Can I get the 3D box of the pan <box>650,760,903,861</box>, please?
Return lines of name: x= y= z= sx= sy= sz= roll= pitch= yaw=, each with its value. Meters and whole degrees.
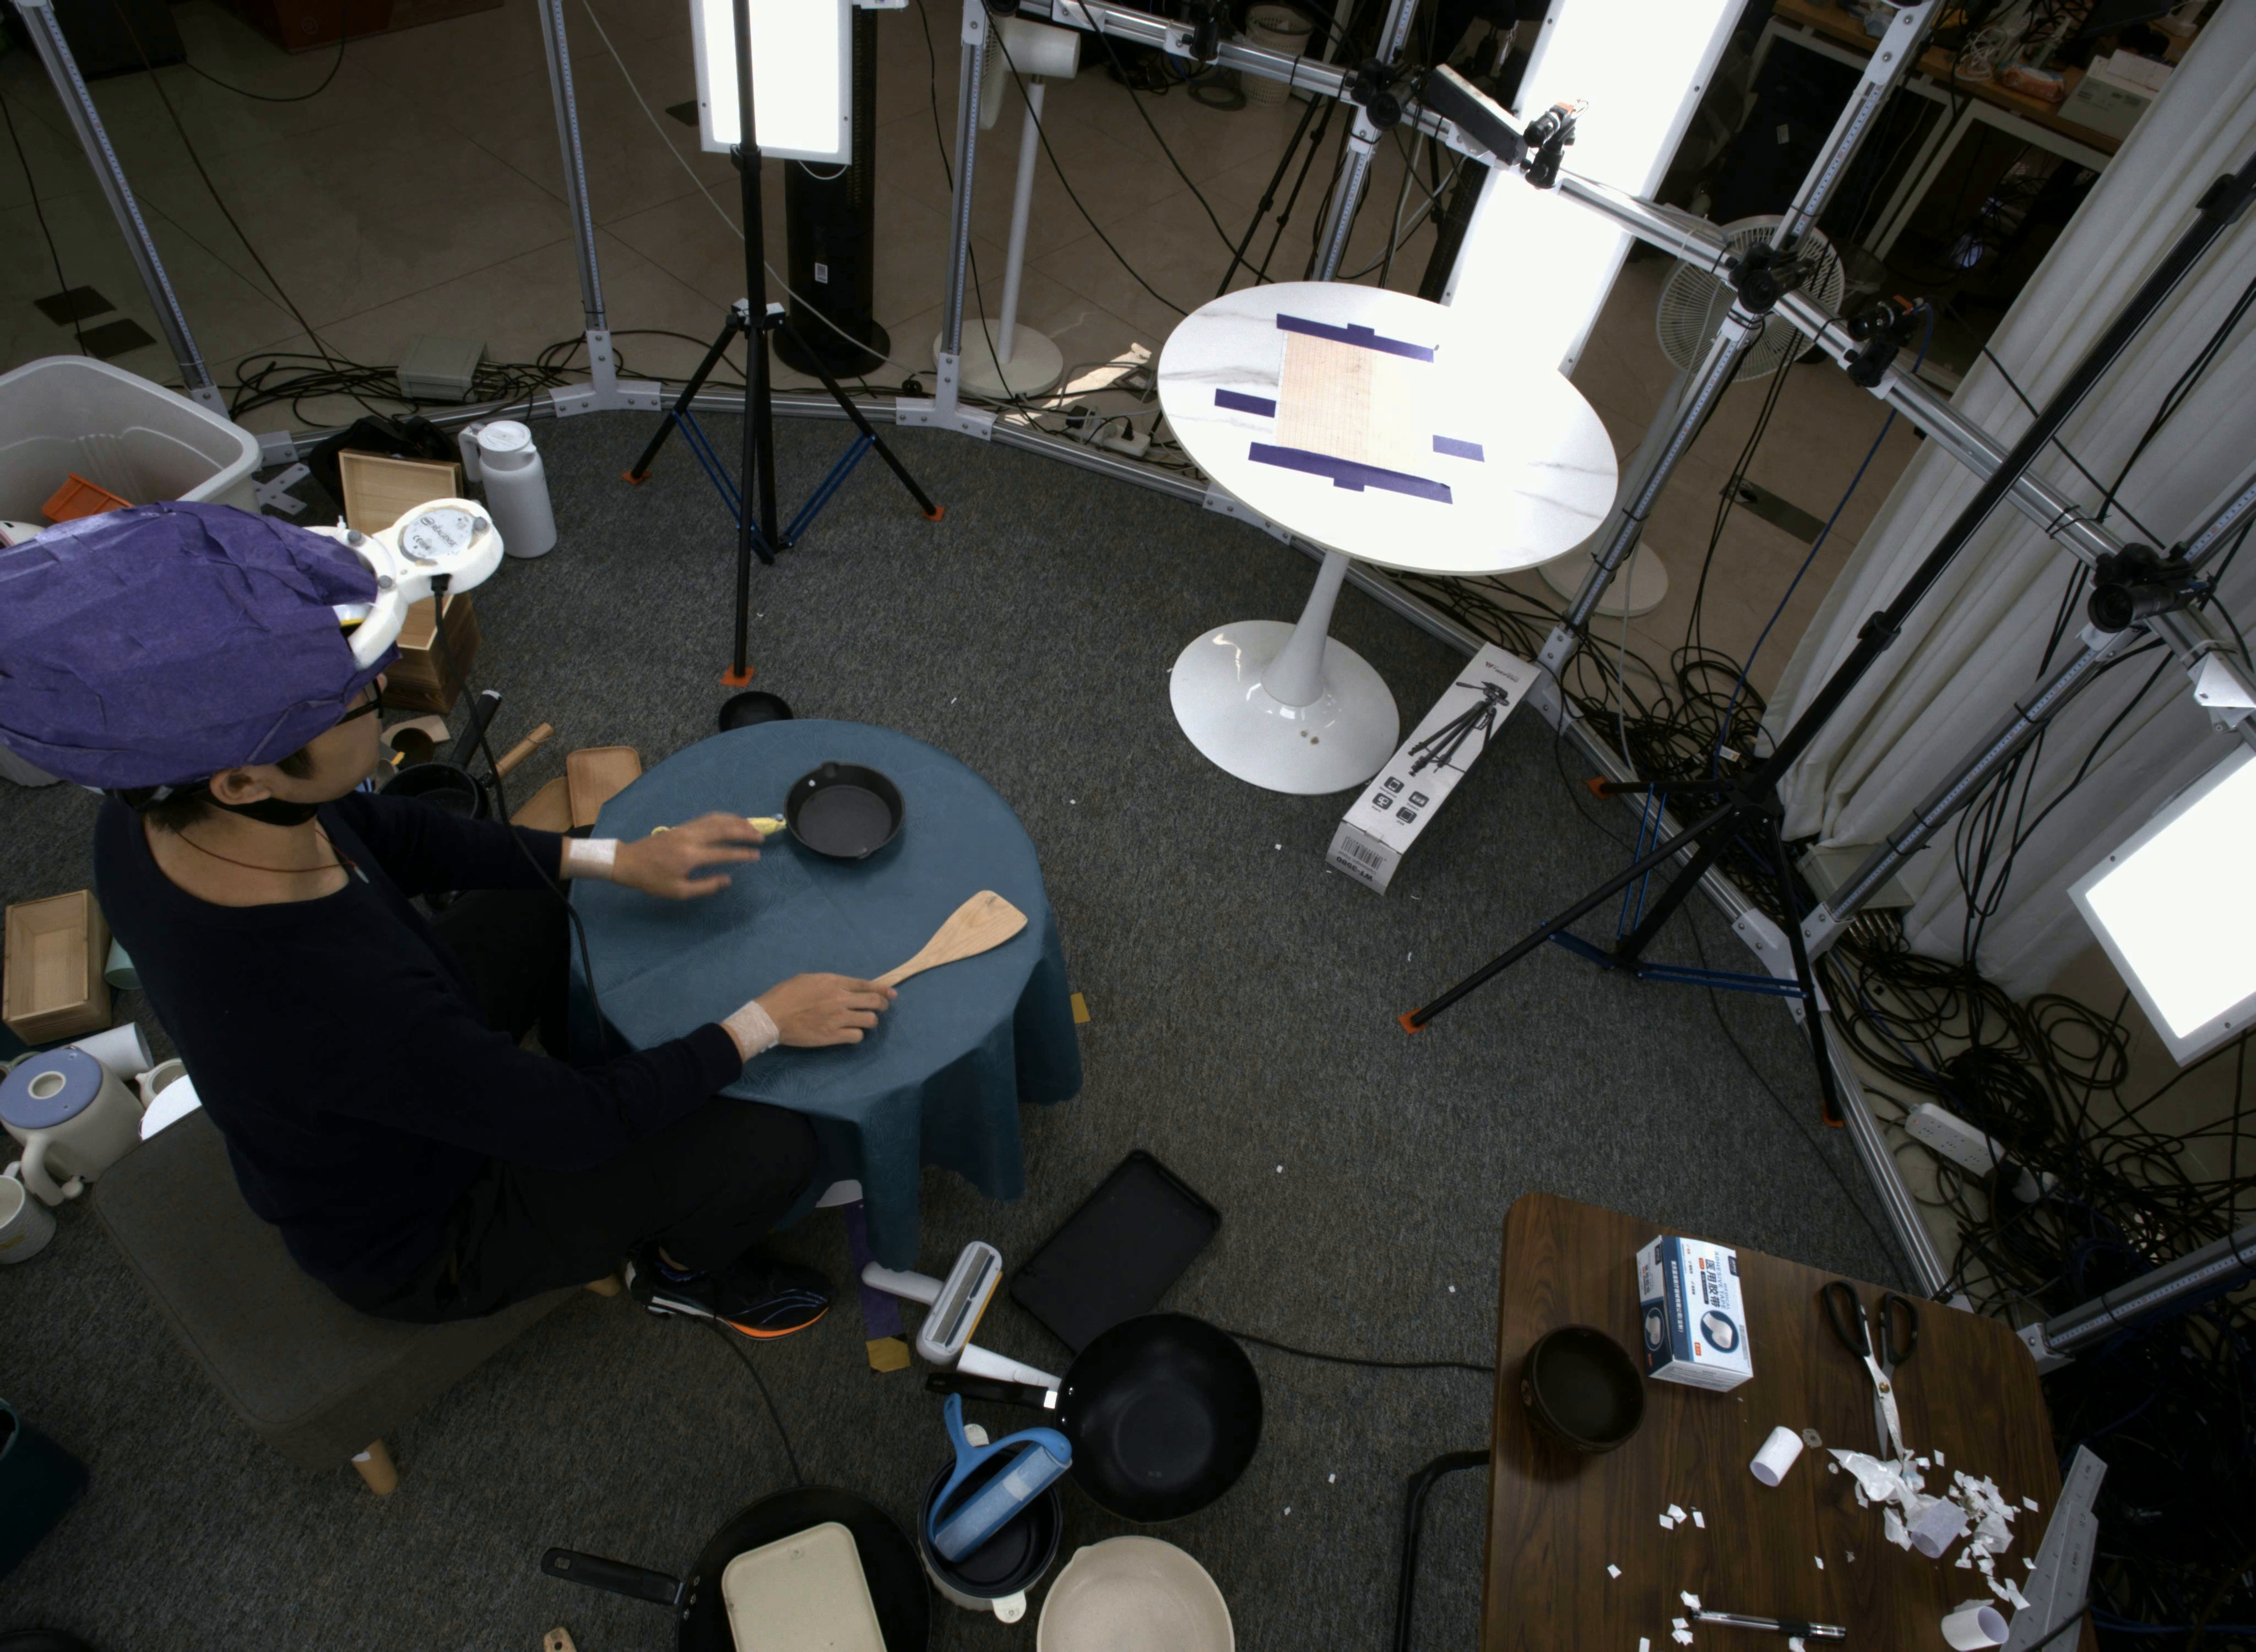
pan: x=-0.453 y=-0.005 z=1.677 sx=0.326 sy=0.050 sz=0.165 roll=-10 pitch=57 yaw=-24

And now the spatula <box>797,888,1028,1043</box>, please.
spatula: x=-0.270 y=0.172 z=1.615 sx=0.329 sy=0.017 sz=0.078 roll=-32 pitch=66 yaw=-32
